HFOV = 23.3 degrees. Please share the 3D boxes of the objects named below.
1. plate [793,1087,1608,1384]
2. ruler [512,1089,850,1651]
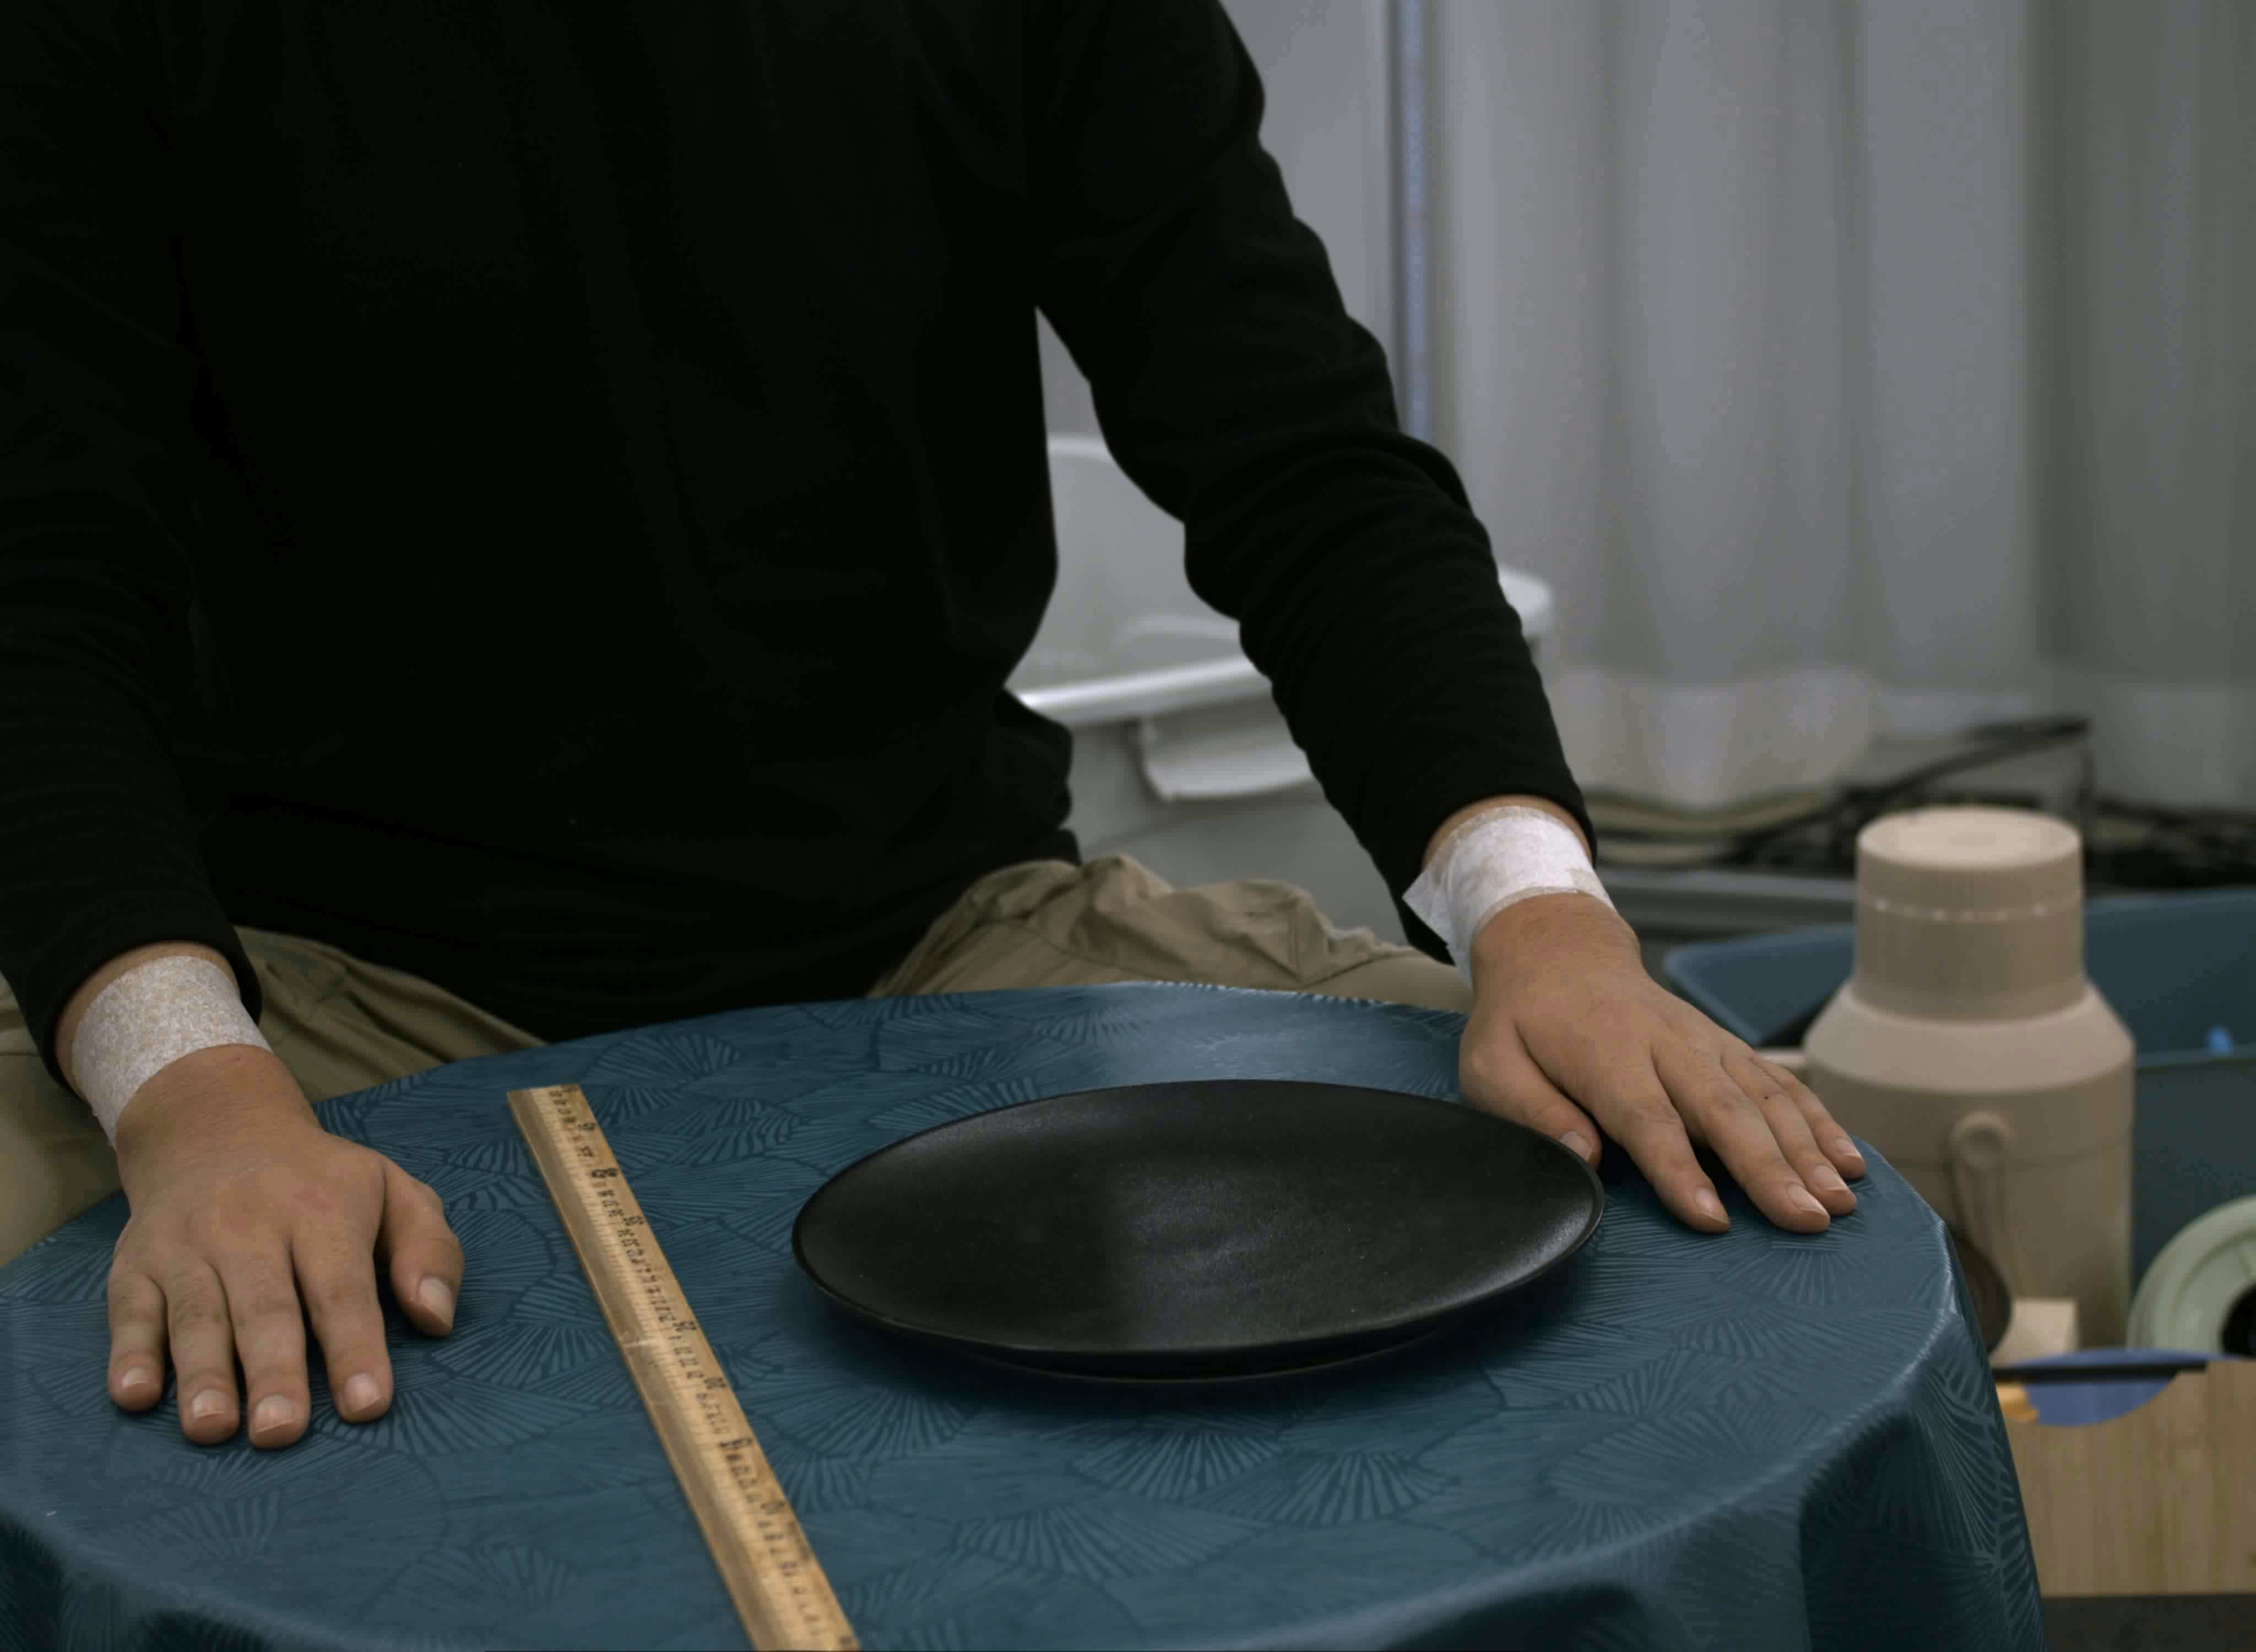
[{"bbox_3d":[0.022,0.124,1.631,0.243,0.023,0.246,-3,15,0],"label":"plate"},{"bbox_3d":[-0.137,0.150,1.599,0.026,0.006,0.504,-4,15,-12],"label":"ruler"}]
